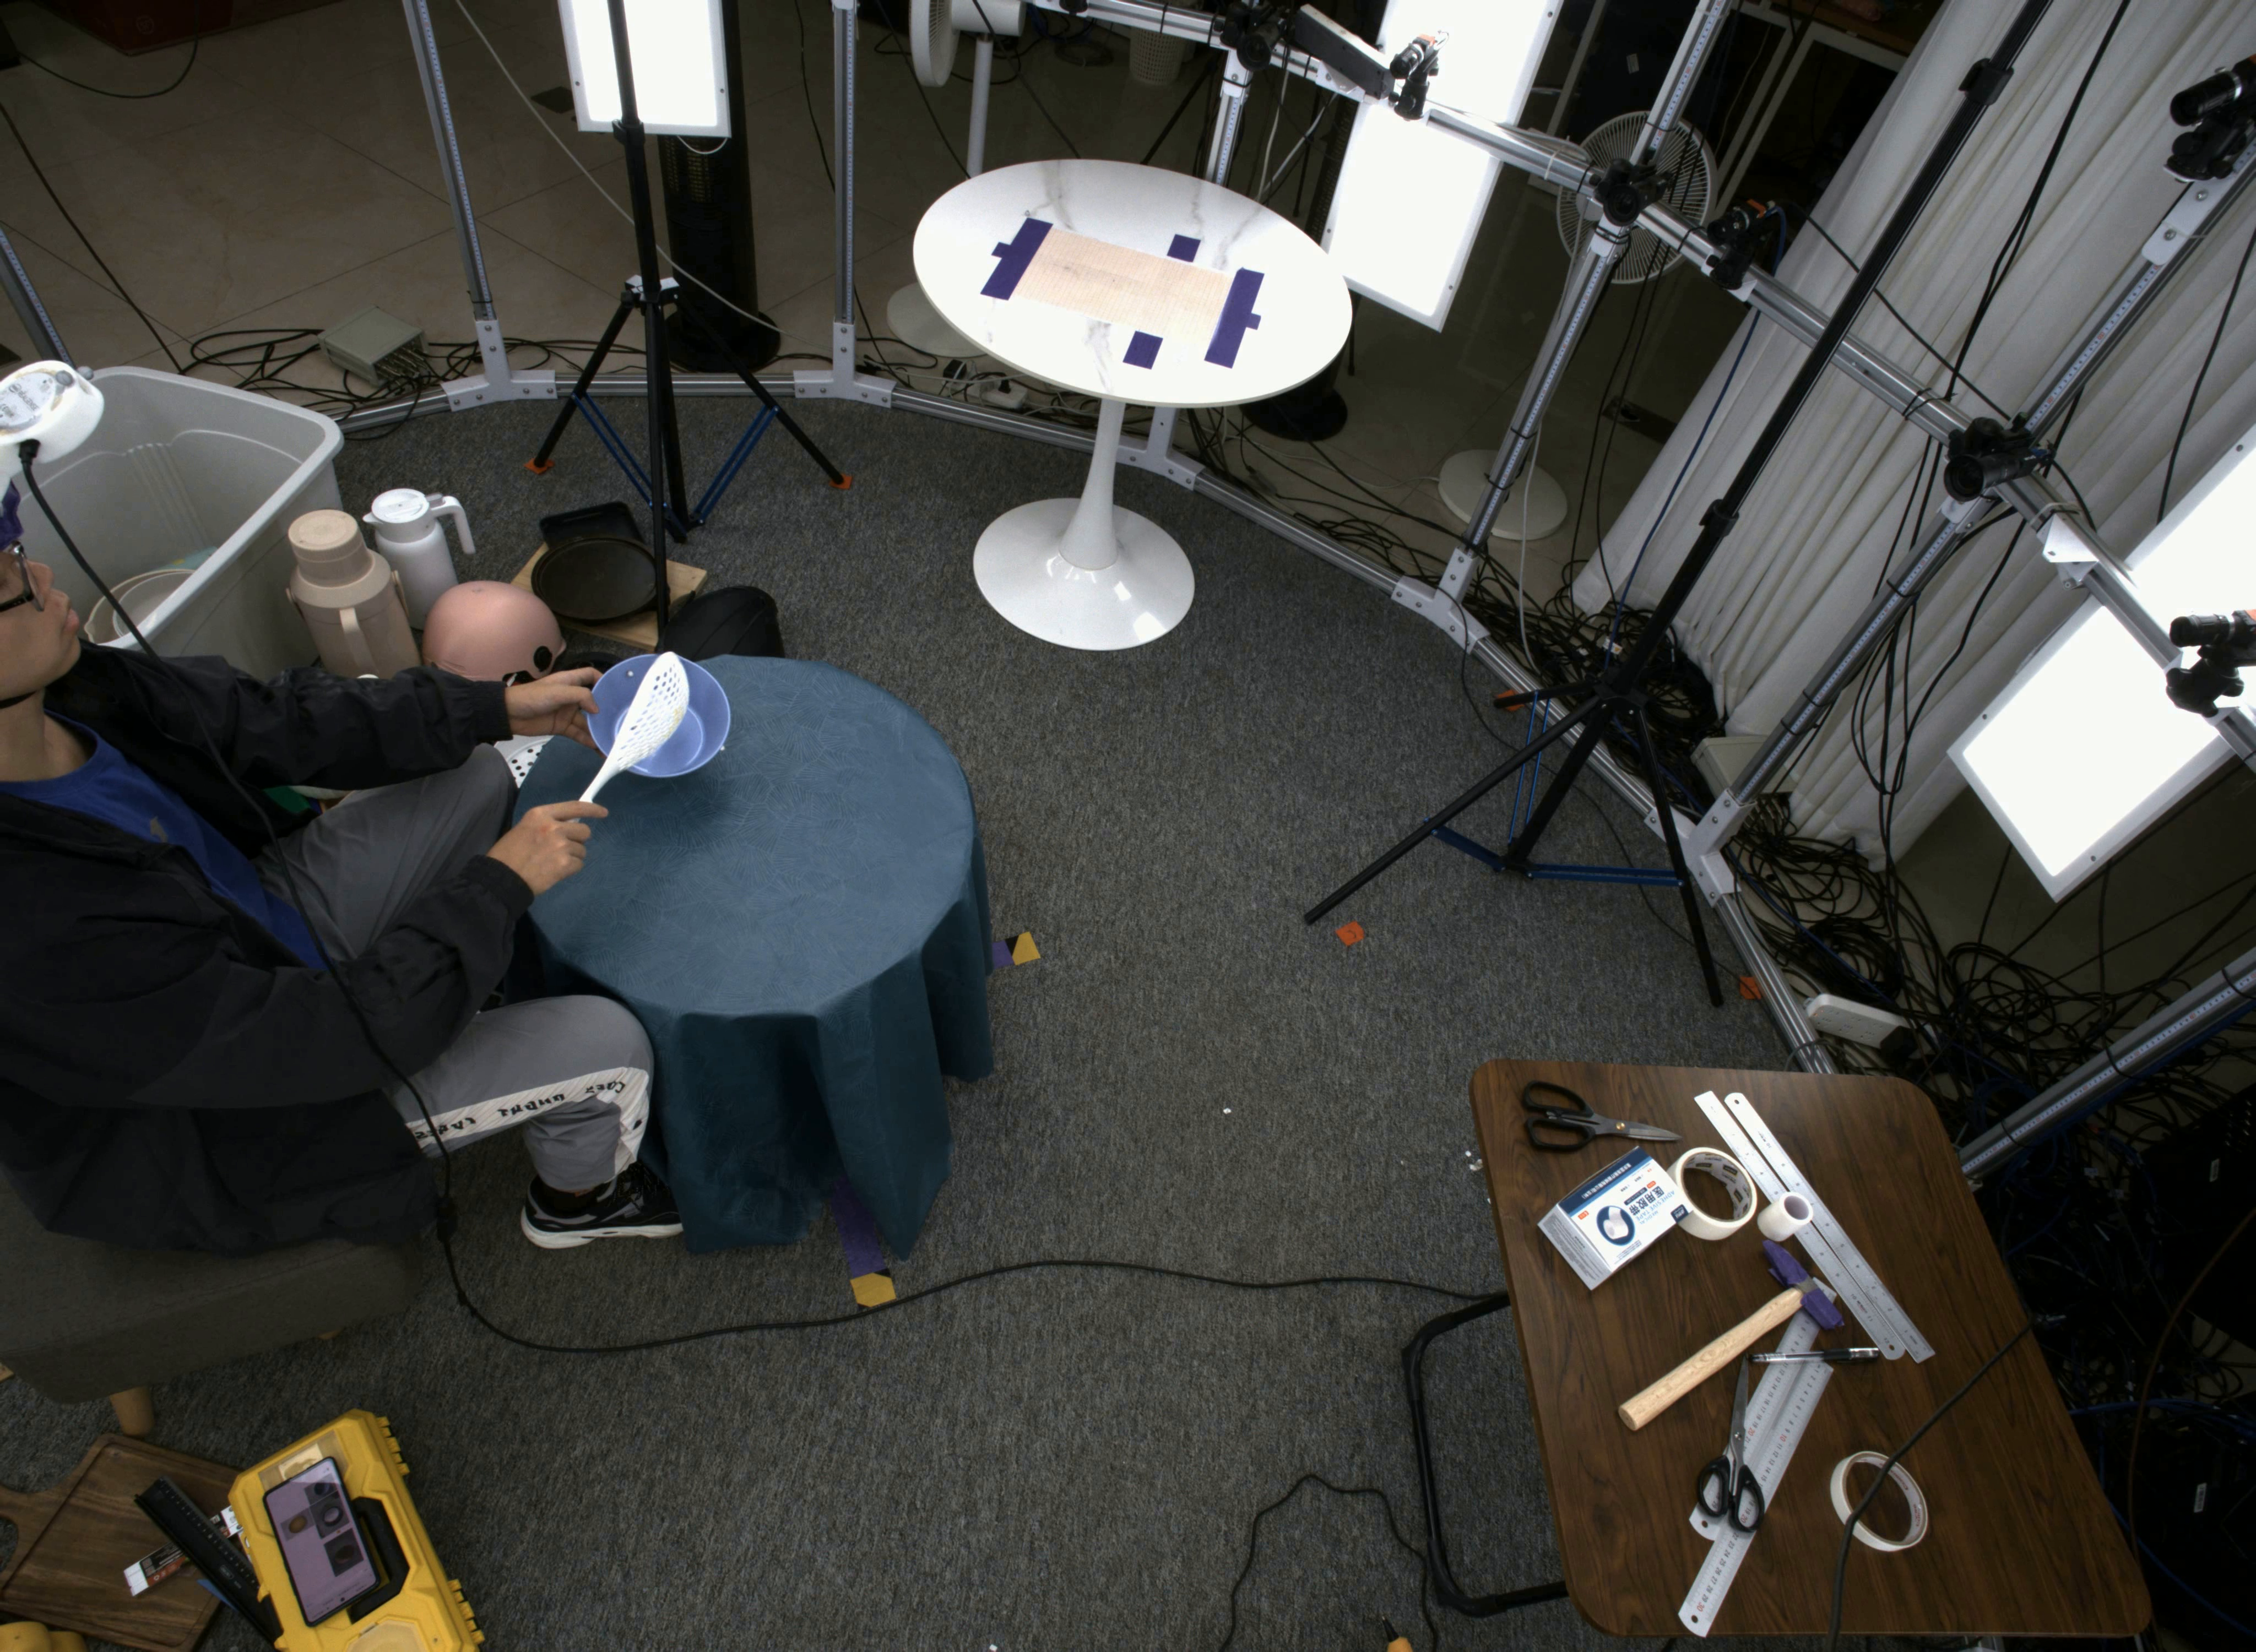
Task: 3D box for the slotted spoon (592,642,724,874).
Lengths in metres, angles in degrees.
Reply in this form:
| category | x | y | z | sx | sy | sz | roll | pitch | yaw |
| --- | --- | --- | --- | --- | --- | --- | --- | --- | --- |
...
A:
| category | x | y | z | sx | sy | sz | roll | pitch | yaw |
| --- | --- | --- | --- | --- | --- | --- | --- | --- | --- |
| slotted spoon | -0.580 | -0.080 | 1.572 | 0.050 | 0.139 | 0.345 | 25 | 54 | 2 |

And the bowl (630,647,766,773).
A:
| category | x | y | z | sx | sy | sz | roll | pitch | yaw |
| --- | --- | --- | --- | --- | --- | --- | --- | --- | --- |
| bowl | -0.566 | -0.140 | 1.691 | 0.177 | 0.070 | 0.175 | 7 | 69 | -17 |
